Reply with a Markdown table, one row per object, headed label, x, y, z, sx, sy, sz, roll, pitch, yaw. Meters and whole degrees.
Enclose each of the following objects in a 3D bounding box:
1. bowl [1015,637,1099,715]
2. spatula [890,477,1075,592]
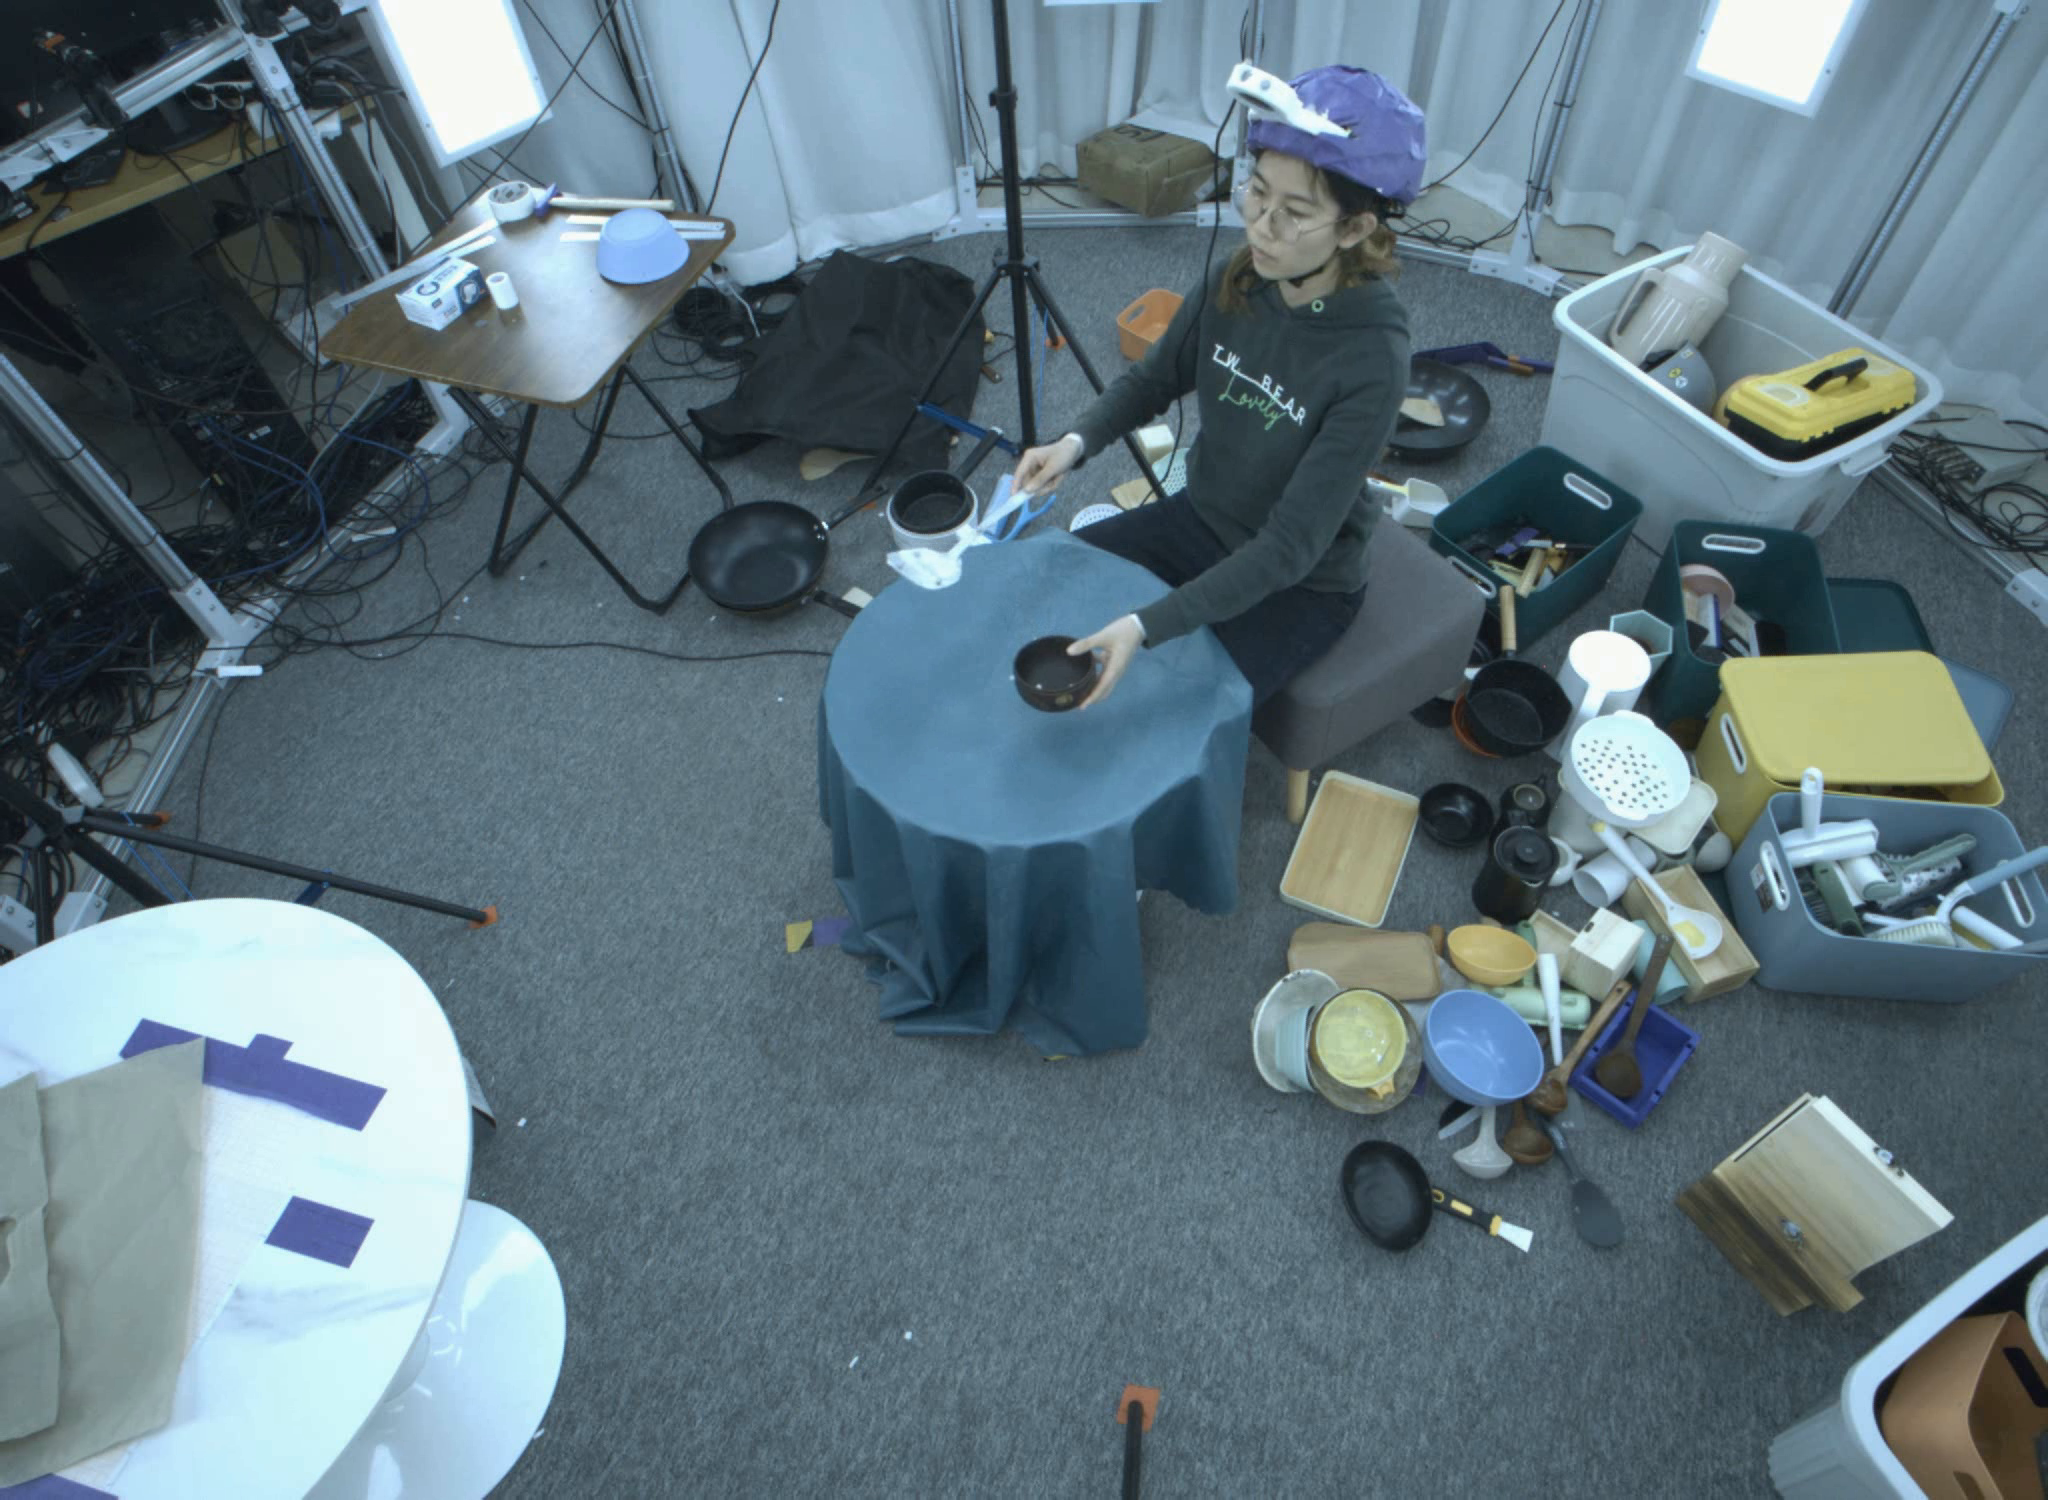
| label | x | y | z | sx | sy | sz | roll | pitch | yaw |
| --- | --- | --- | --- | --- | --- | --- | --- | --- | --- |
| bowl | 0.047 | -0.096 | 1.732 | 0.118 | 0.070 | 0.117 | -1 | 48 | 3 |
| spatula | -0.047 | -0.334 | 1.808 | 0.097 | 0.045 | 0.367 | 36 | 59 | 19 |
